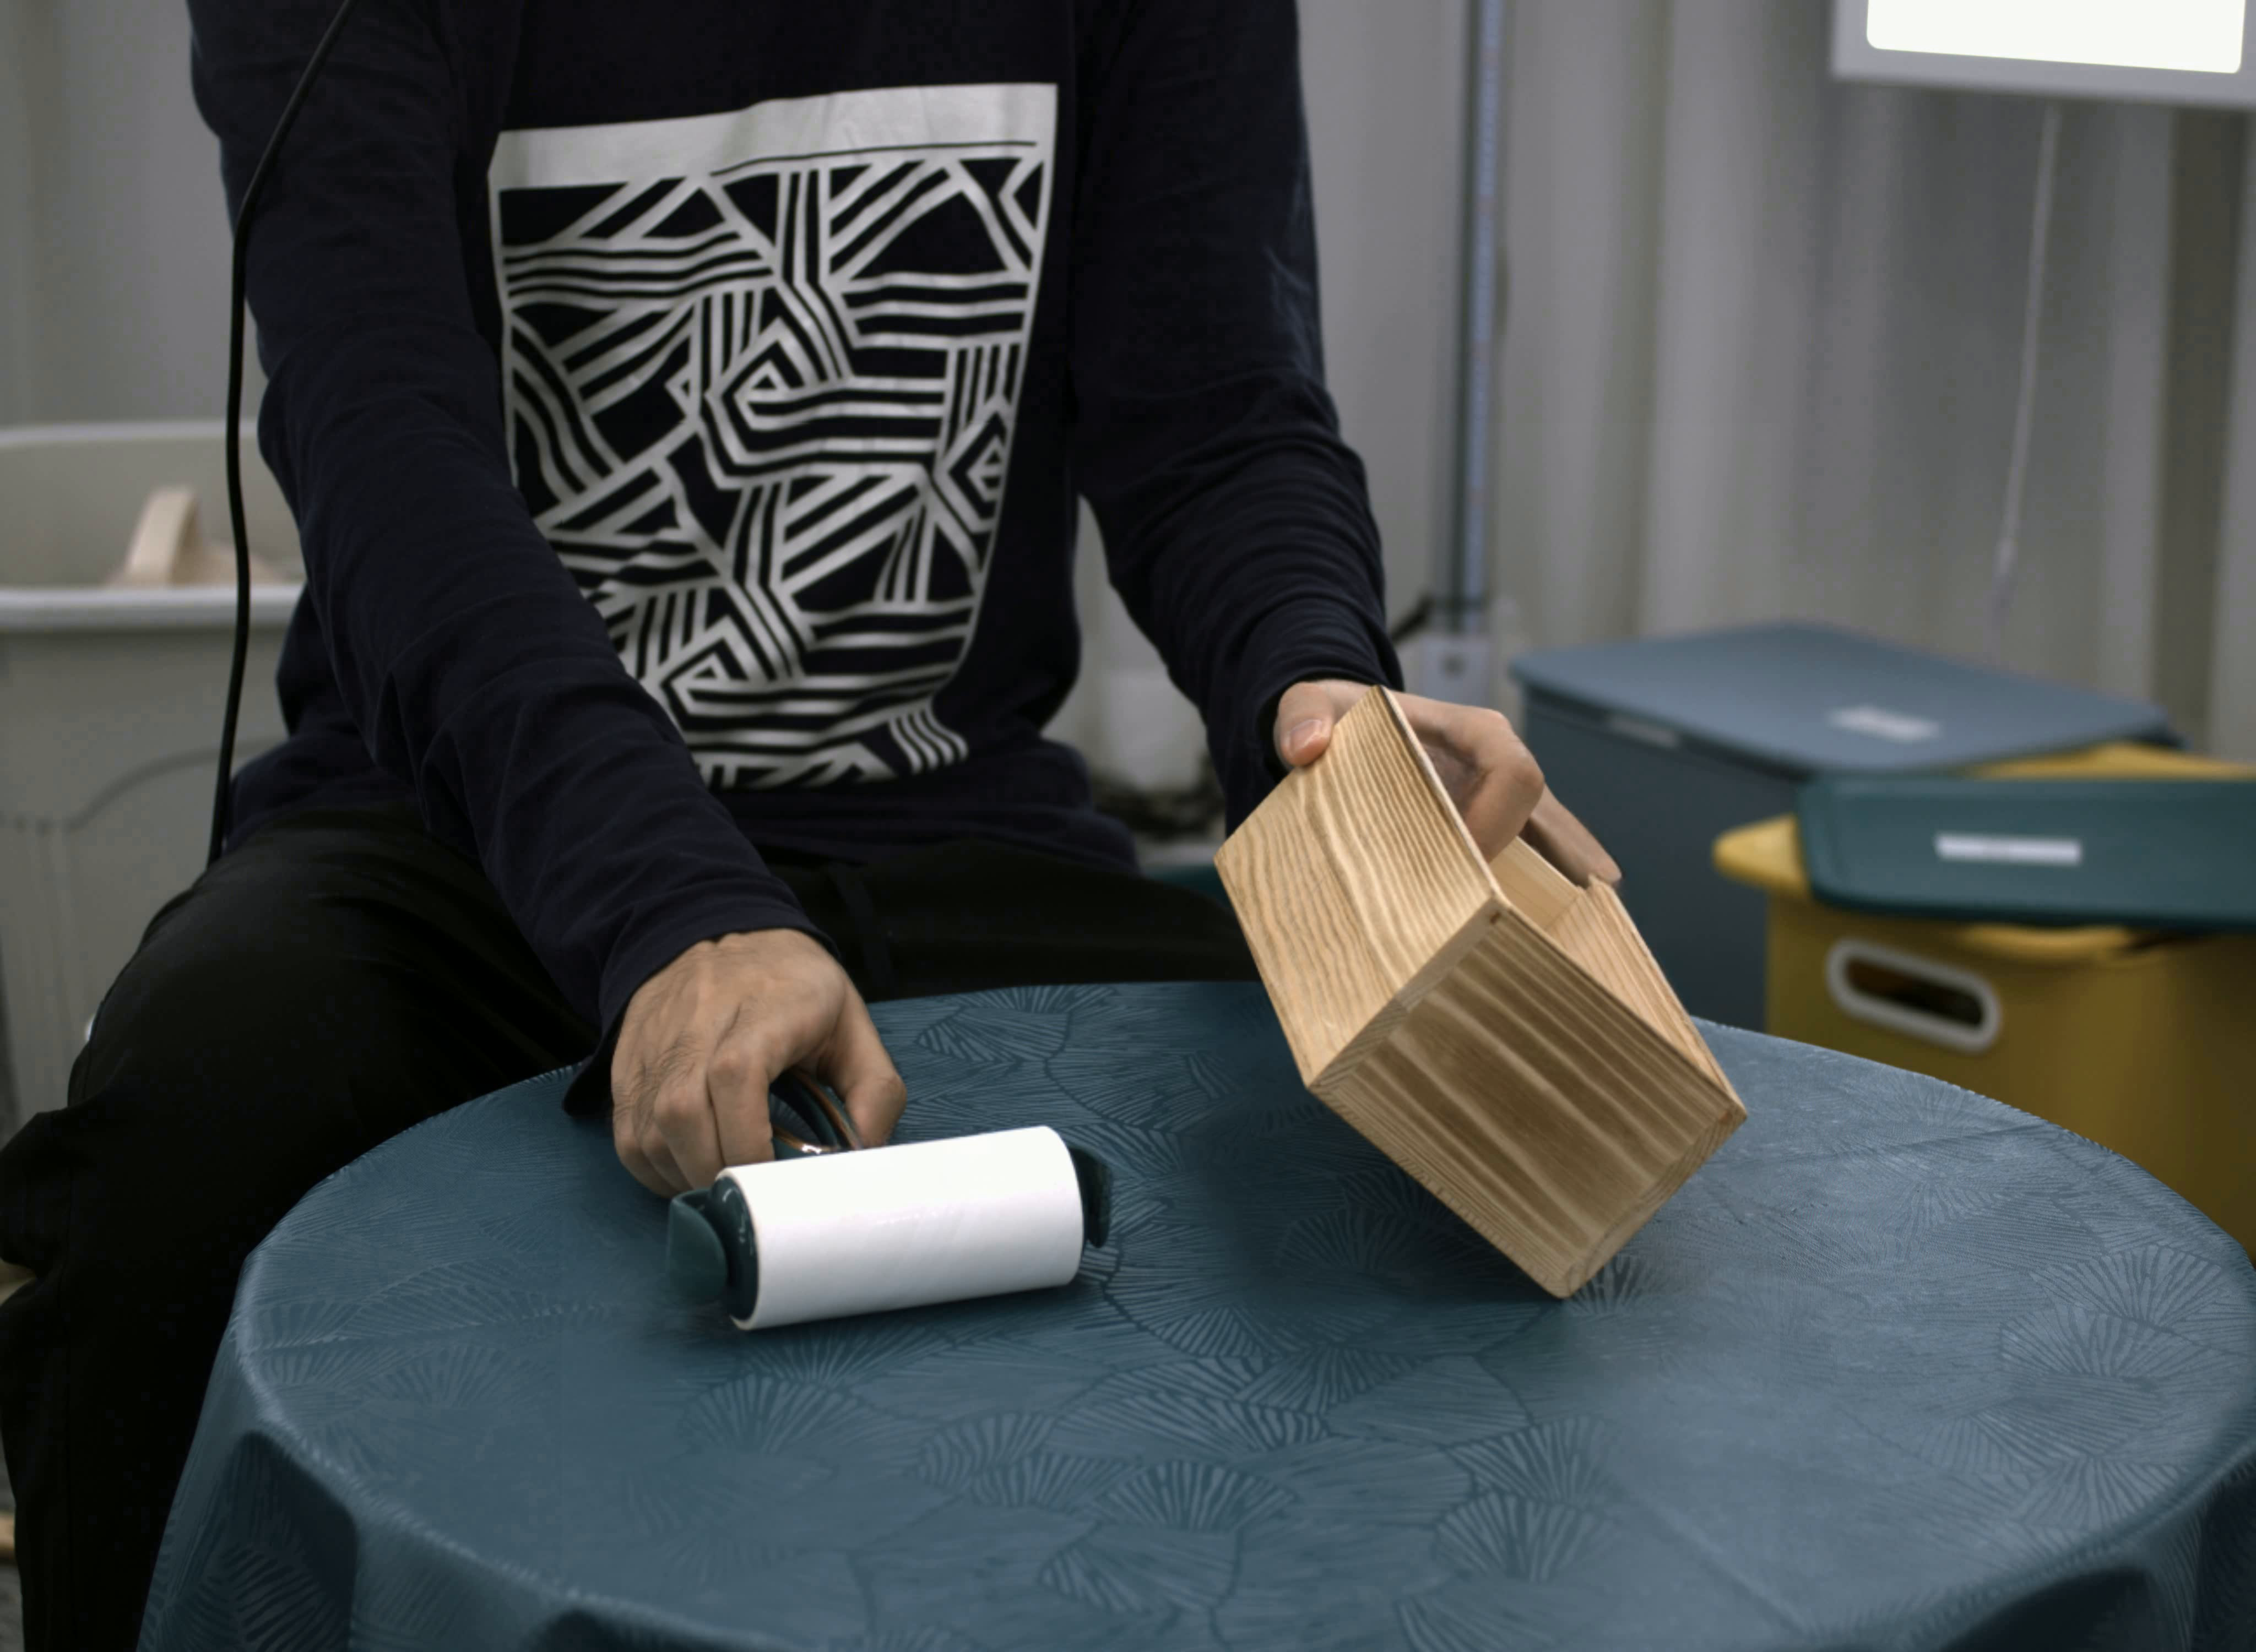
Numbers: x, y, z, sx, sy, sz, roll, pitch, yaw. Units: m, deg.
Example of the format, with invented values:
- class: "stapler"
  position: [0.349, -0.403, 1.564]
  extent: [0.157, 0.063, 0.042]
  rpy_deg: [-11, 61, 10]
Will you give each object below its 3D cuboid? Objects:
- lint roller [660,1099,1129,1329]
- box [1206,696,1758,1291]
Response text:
- class: "lint roller"
  position: [-0.094, 0.095, 1.575]
  extent: [0.135, 0.049, 0.178]
  rpy_deg: [-7, 20, -22]
- class: "box"
  position: [0.103, 0.047, 1.606]
  extent: [0.108, 0.080, 0.209]
  rpy_deg: [38, 8, -17]
